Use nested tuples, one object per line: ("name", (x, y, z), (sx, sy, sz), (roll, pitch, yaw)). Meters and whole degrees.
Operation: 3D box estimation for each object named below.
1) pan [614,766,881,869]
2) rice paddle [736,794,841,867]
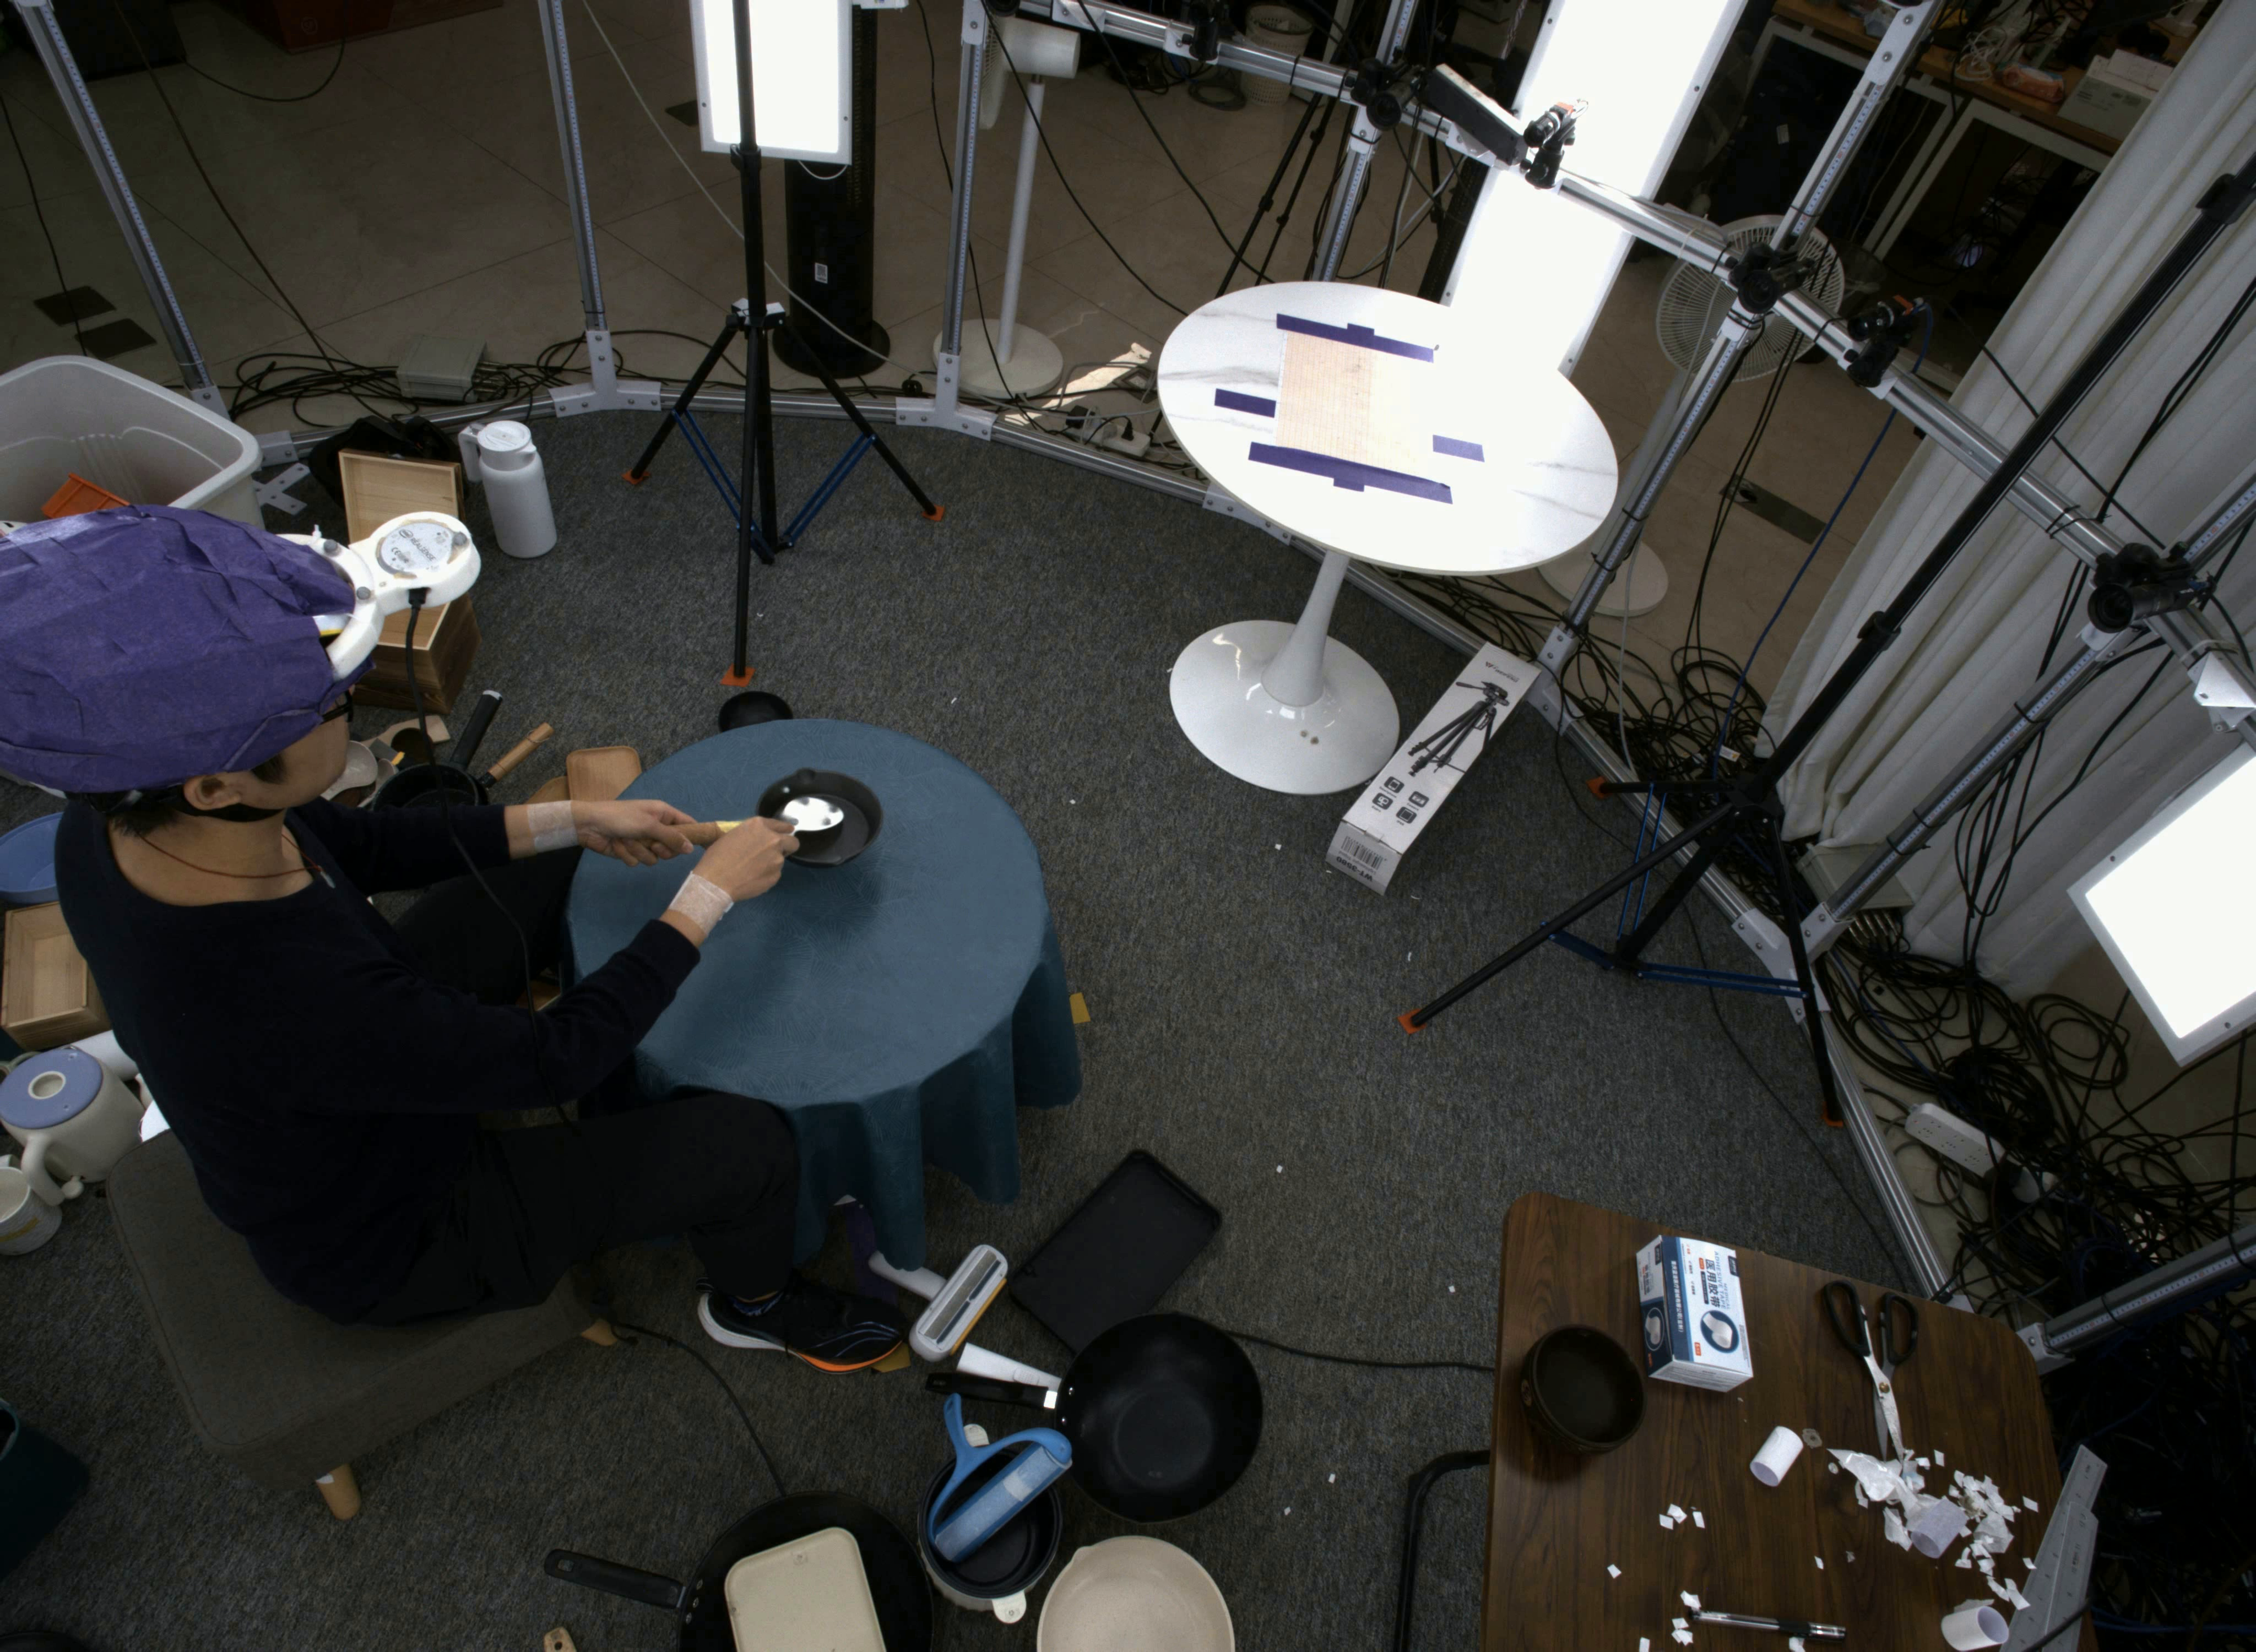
("pan", (-0.464, 0.000, 1.584), (0.327, 0.050, 0.164), (-7, 52, -25))
("rice paddle", (-0.411, -0.003, 1.573), (0.068, 0.030, 0.204), (25, 24, 5))
